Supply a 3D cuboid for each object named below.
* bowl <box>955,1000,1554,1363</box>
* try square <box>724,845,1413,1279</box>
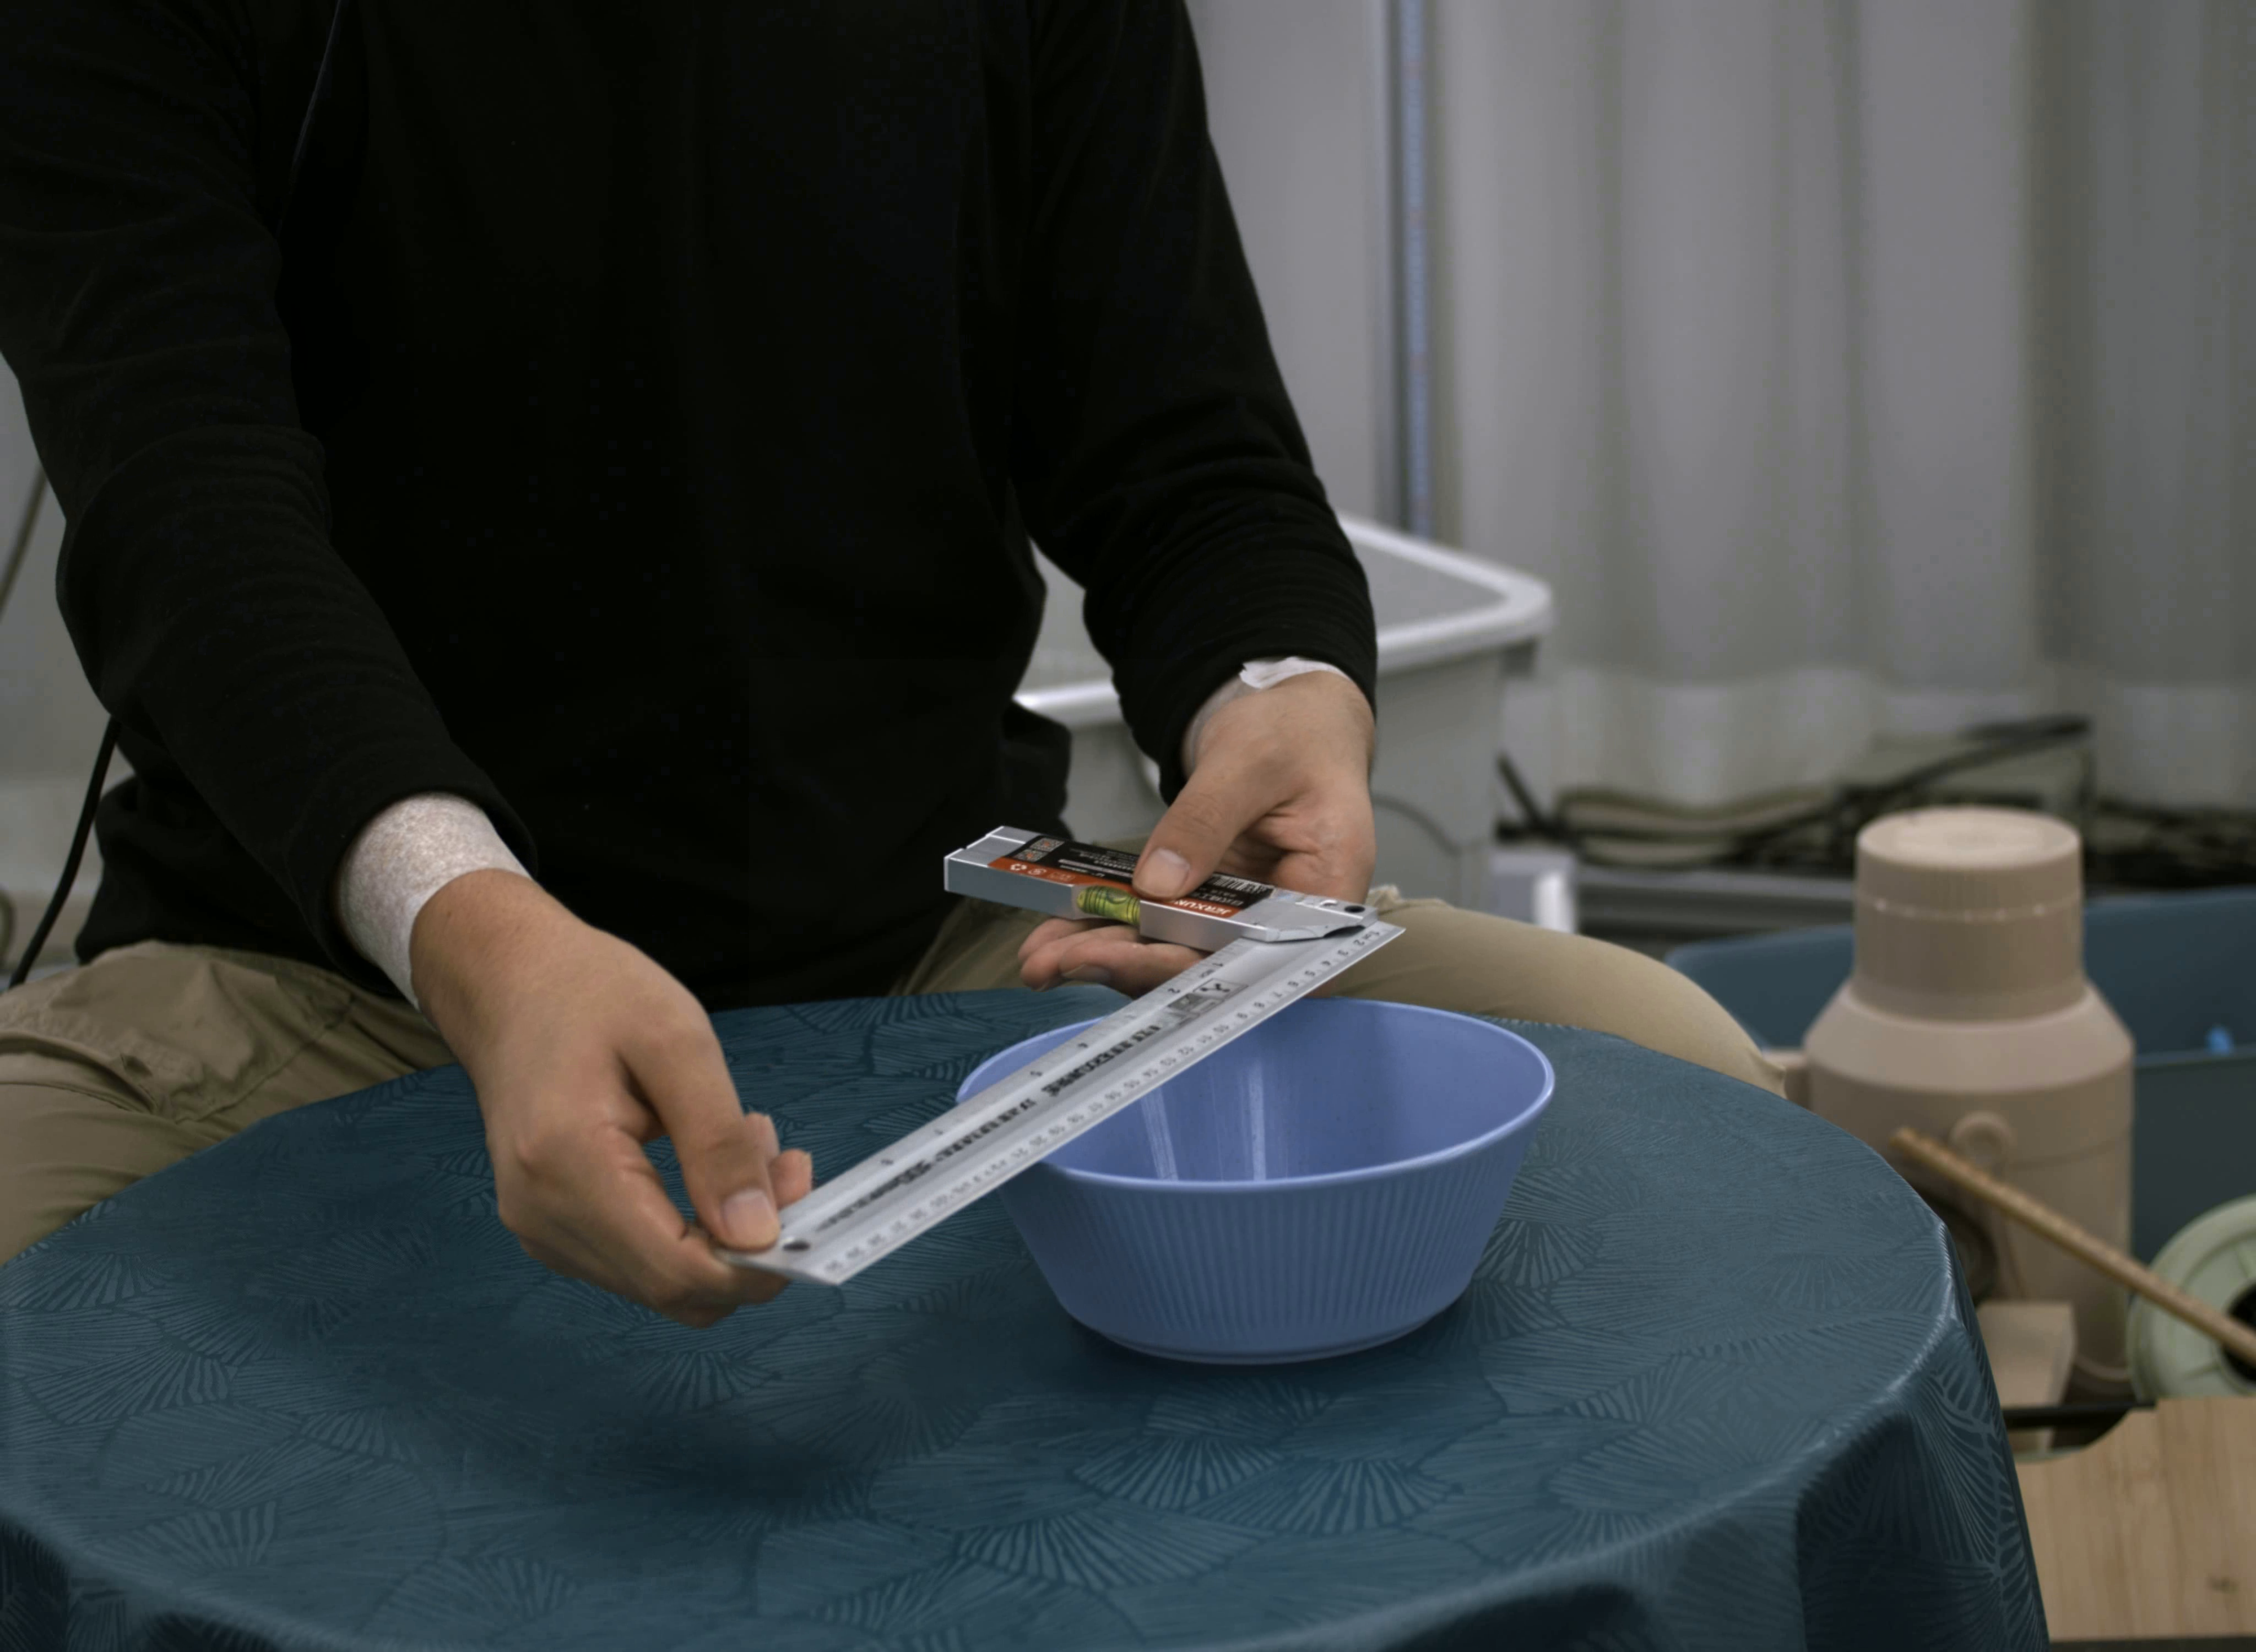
[{"bbox_3d":[0.038,0.106,1.603,0.175,0.070,0.177,-3,15,0],"label":"bowl"},{"bbox_3d":[-0.056,0.065,1.606,0.153,0.016,0.313,9,21,31],"label":"try square"}]
